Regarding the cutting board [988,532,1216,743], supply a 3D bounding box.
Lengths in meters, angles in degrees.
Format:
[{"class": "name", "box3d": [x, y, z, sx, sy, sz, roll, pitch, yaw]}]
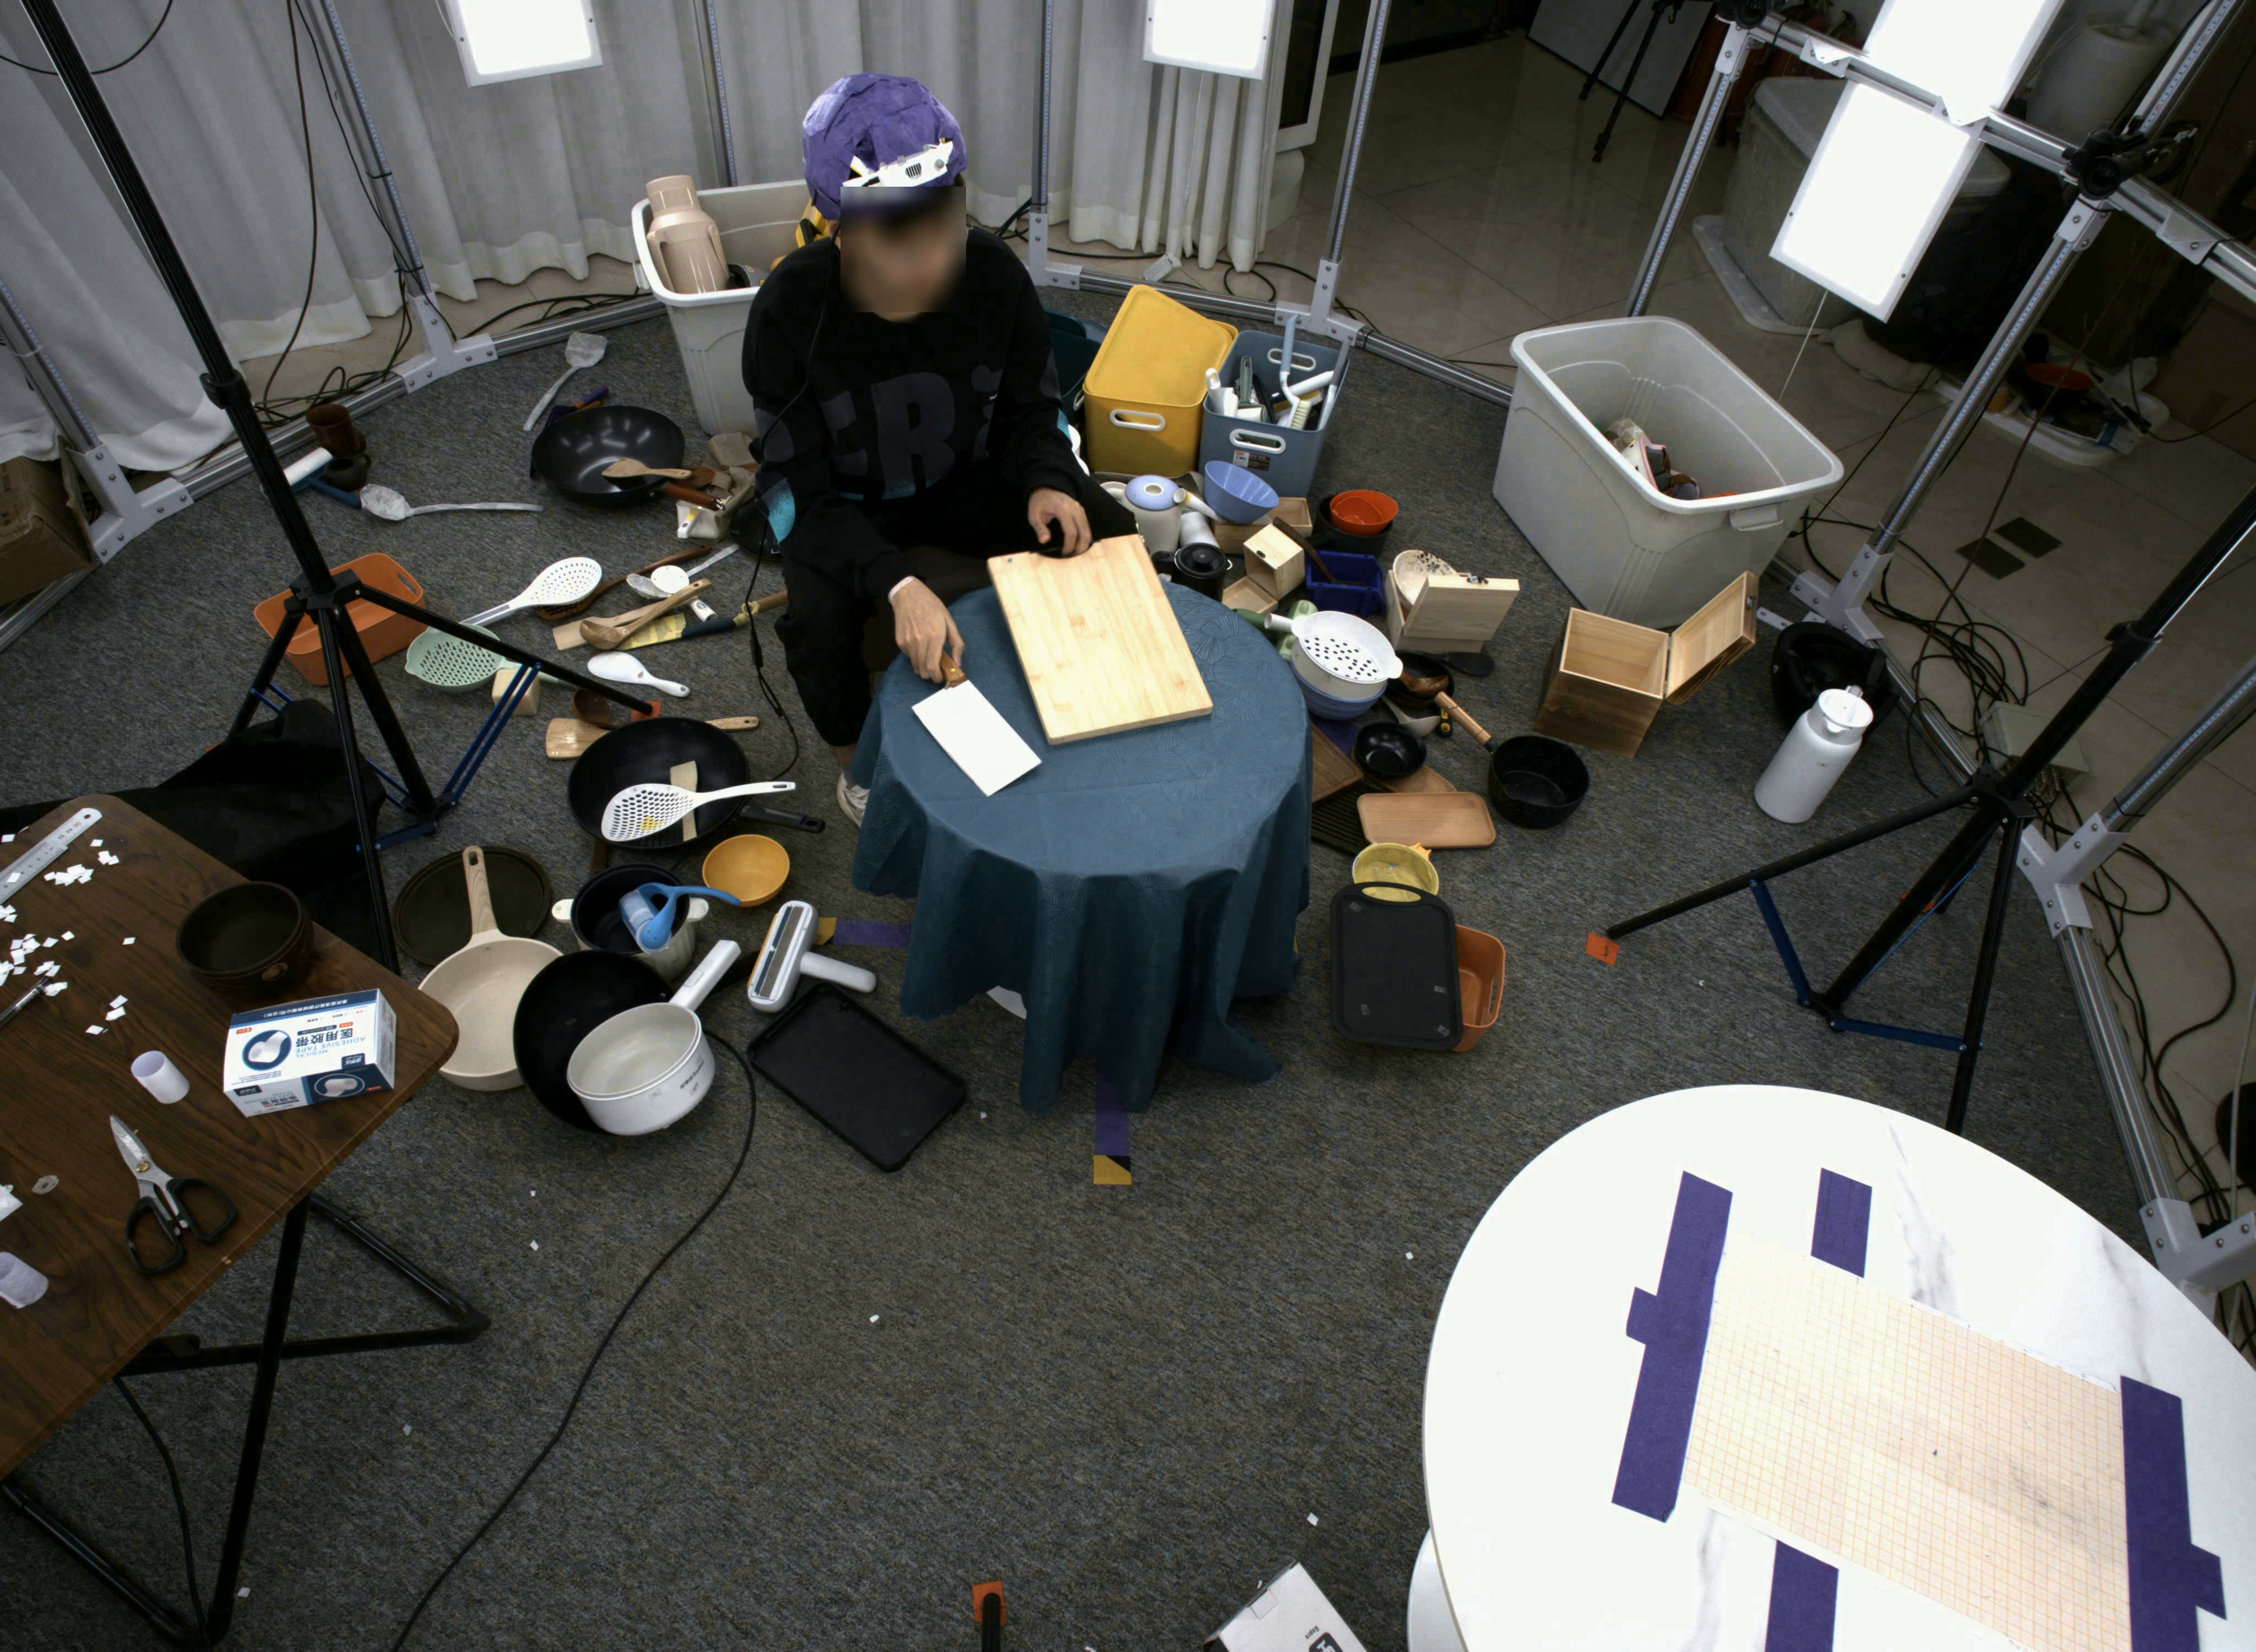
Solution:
[{"class": "cutting board", "box3d": [-0.043, -0.281, 1.870, 0.251, 0.023, 0.356, -13, 58, -15]}]

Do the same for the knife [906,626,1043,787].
[{"class": "knife", "box3d": [-0.236, -0.164, 1.776, 0.093, 0.020, 0.311, -34, 60, -14]}]
